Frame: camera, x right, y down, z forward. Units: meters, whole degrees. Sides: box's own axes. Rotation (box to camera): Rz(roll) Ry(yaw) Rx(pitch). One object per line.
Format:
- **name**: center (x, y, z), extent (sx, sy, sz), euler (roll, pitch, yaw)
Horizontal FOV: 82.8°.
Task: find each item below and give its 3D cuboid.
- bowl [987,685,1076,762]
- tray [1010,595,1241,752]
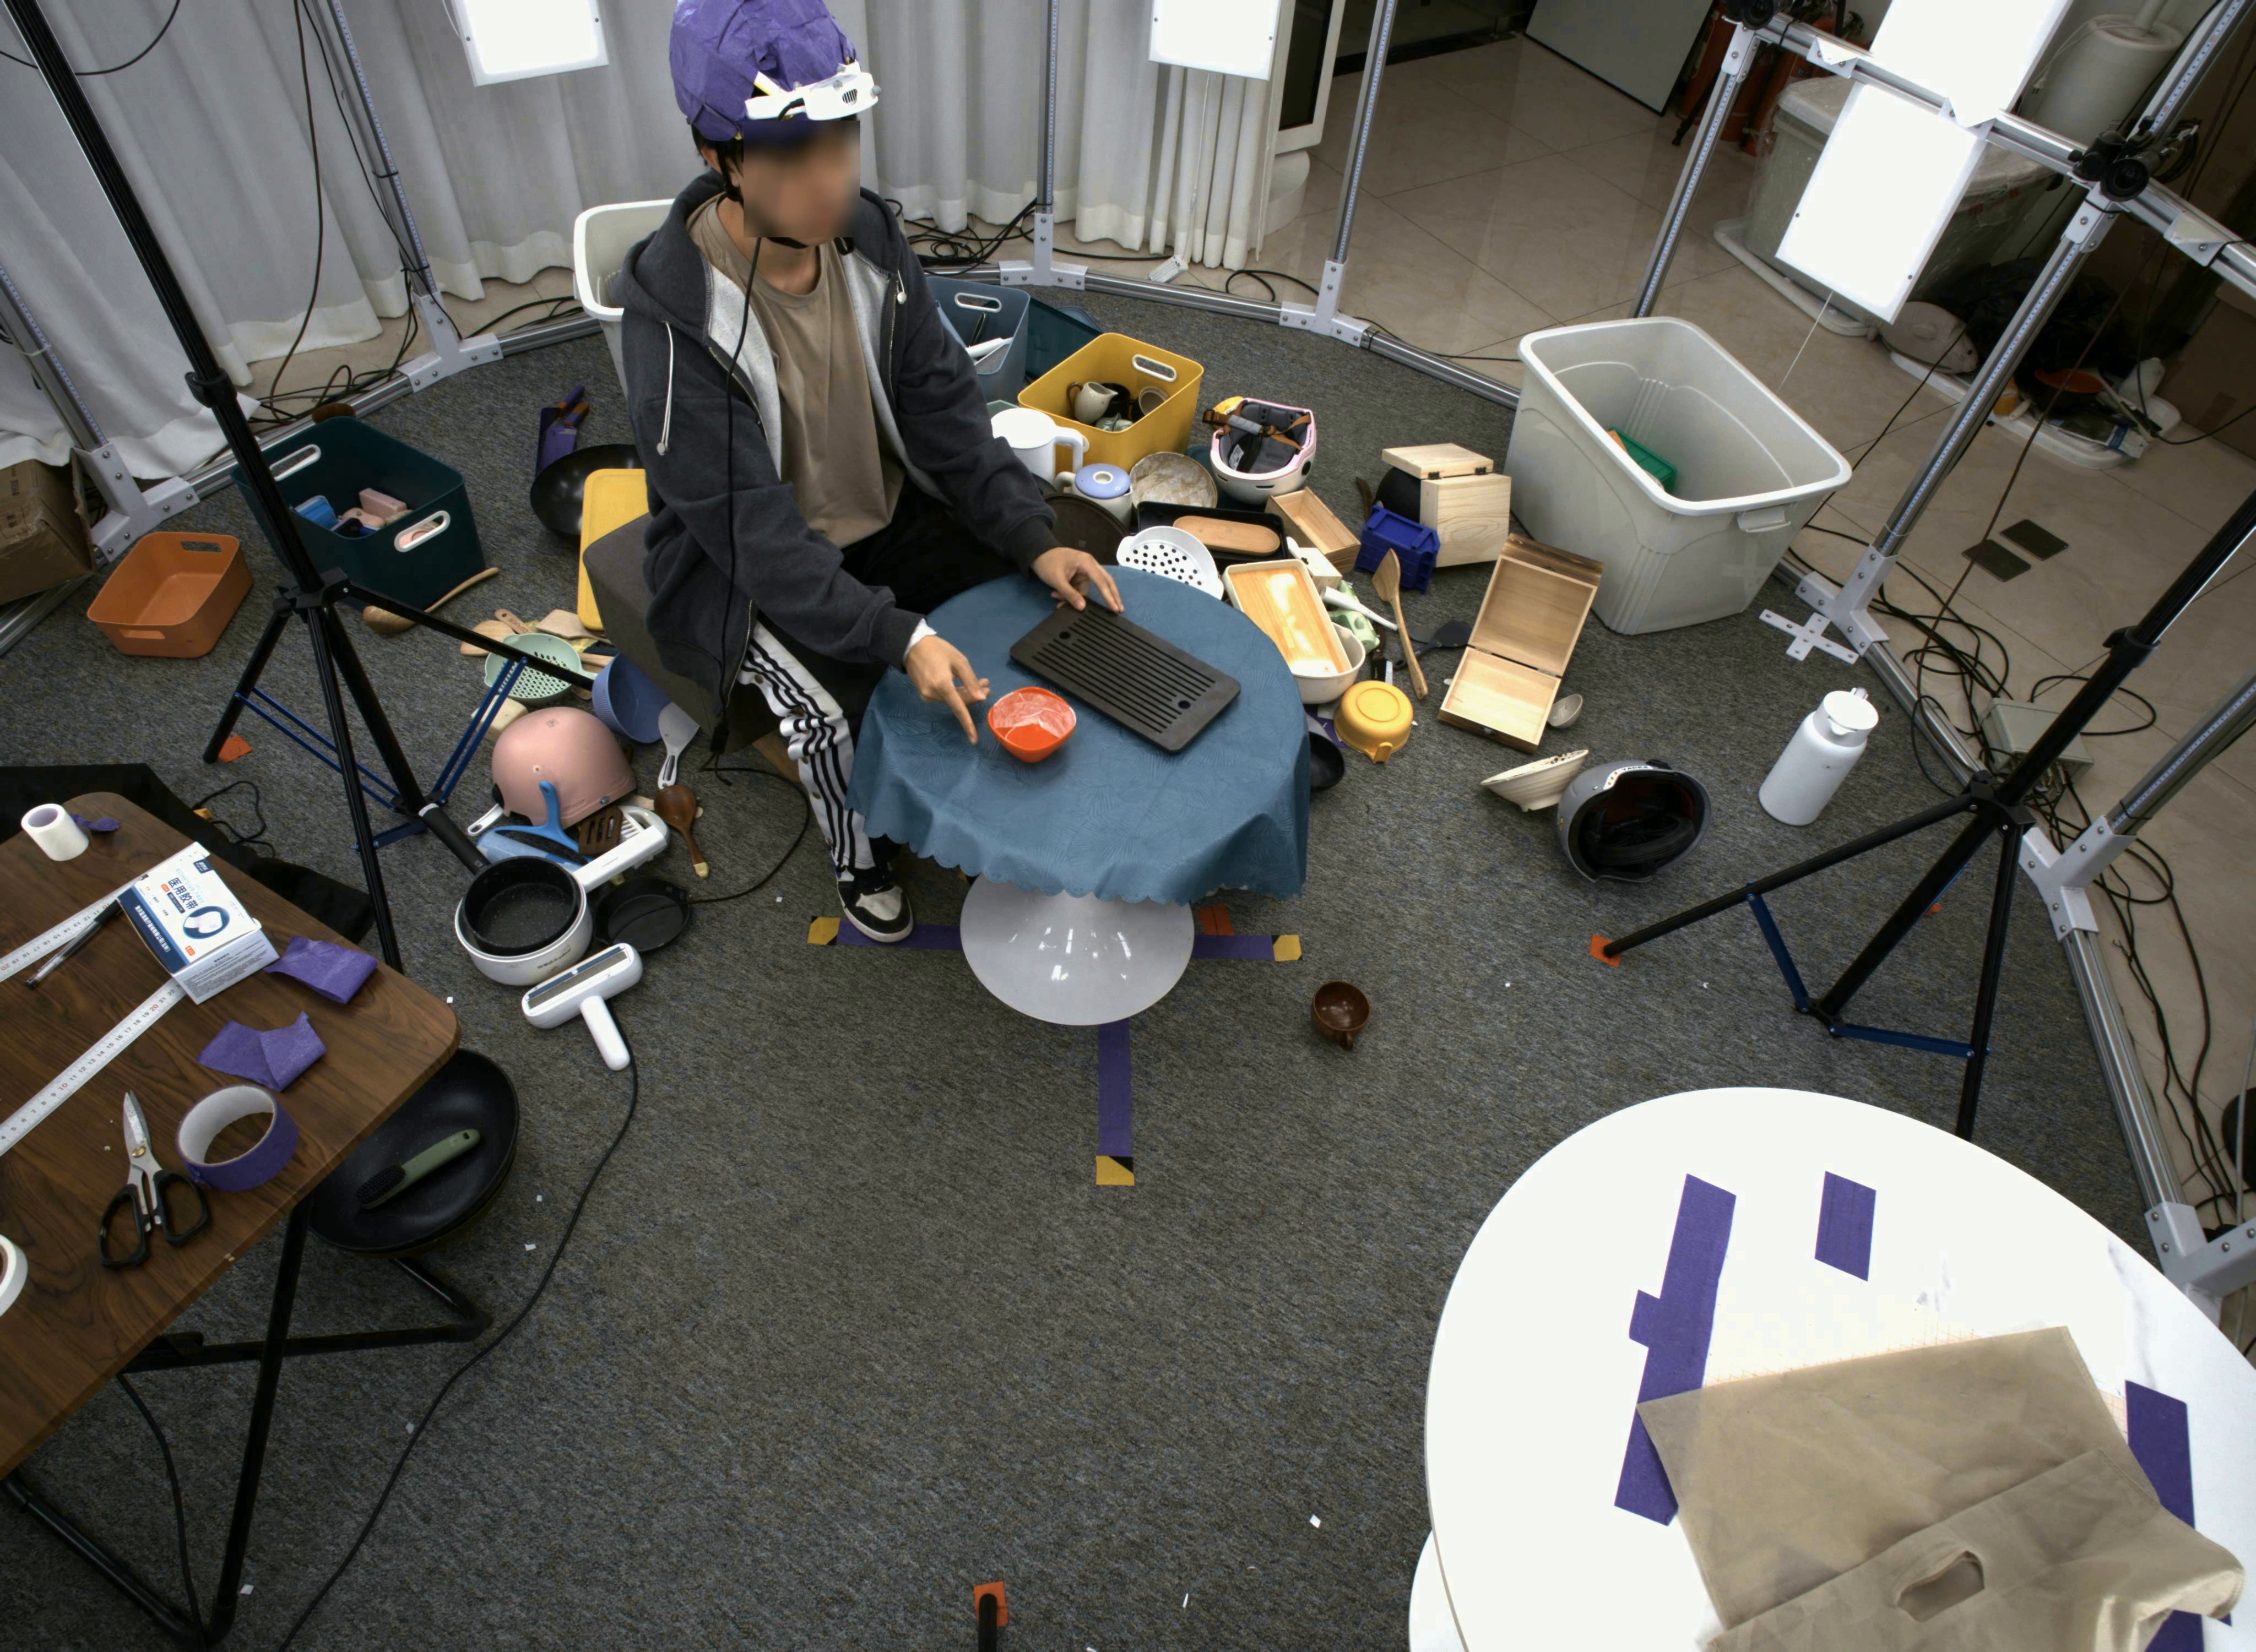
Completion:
- **bowl**: center (-0.131, -0.132, 1.736), extent (0.119, 0.050, 0.122), euler (2, 51, -3)
- **tray**: center (-0.004, -0.222, 1.845), extent (0.309, 0.018, 0.172), euler (32, 56, 22)
